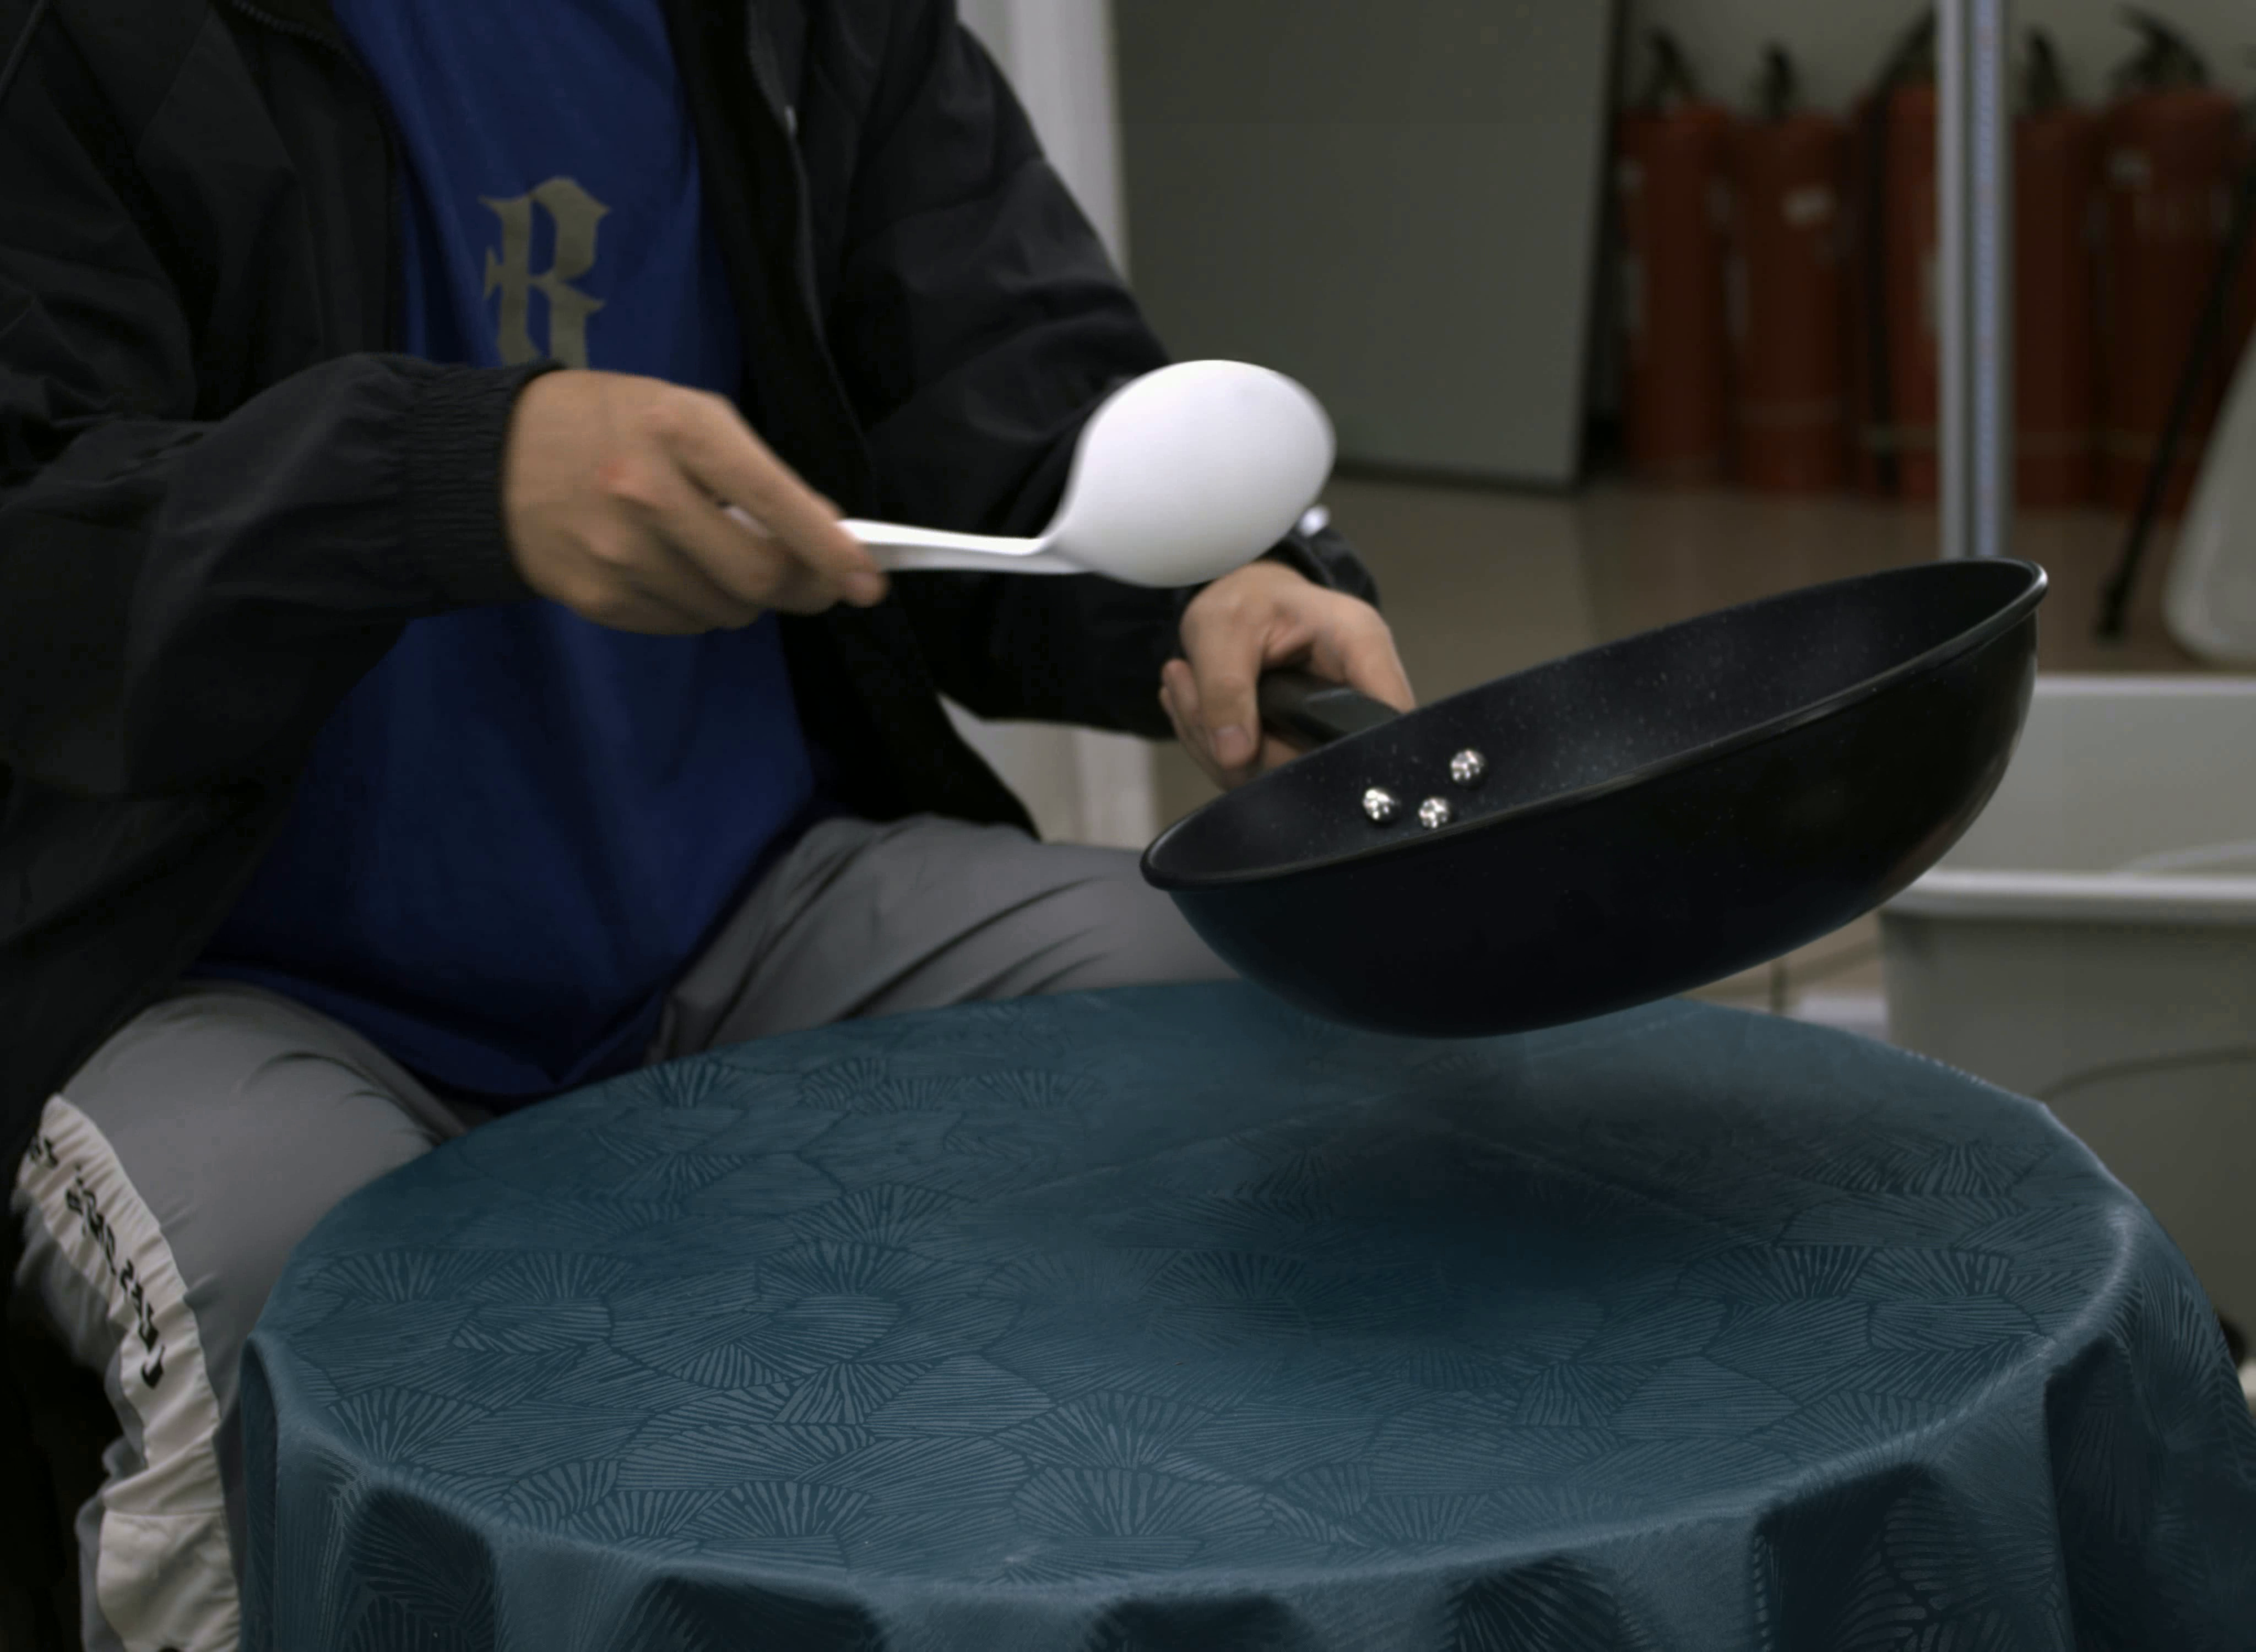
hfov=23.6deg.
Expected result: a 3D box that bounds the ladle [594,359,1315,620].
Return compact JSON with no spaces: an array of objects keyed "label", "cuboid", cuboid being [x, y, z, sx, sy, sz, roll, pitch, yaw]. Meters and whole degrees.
[{"label":"ladle","cuboid":[-0.066,-0.109,1.788,0.295,0.071,0.088,-1,-11,43]}]

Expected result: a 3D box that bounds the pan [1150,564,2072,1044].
[{"label":"pan","cuboid":[0.129,-0.008,1.813,0.304,0.112,0.481,-20,7,-20]}]
